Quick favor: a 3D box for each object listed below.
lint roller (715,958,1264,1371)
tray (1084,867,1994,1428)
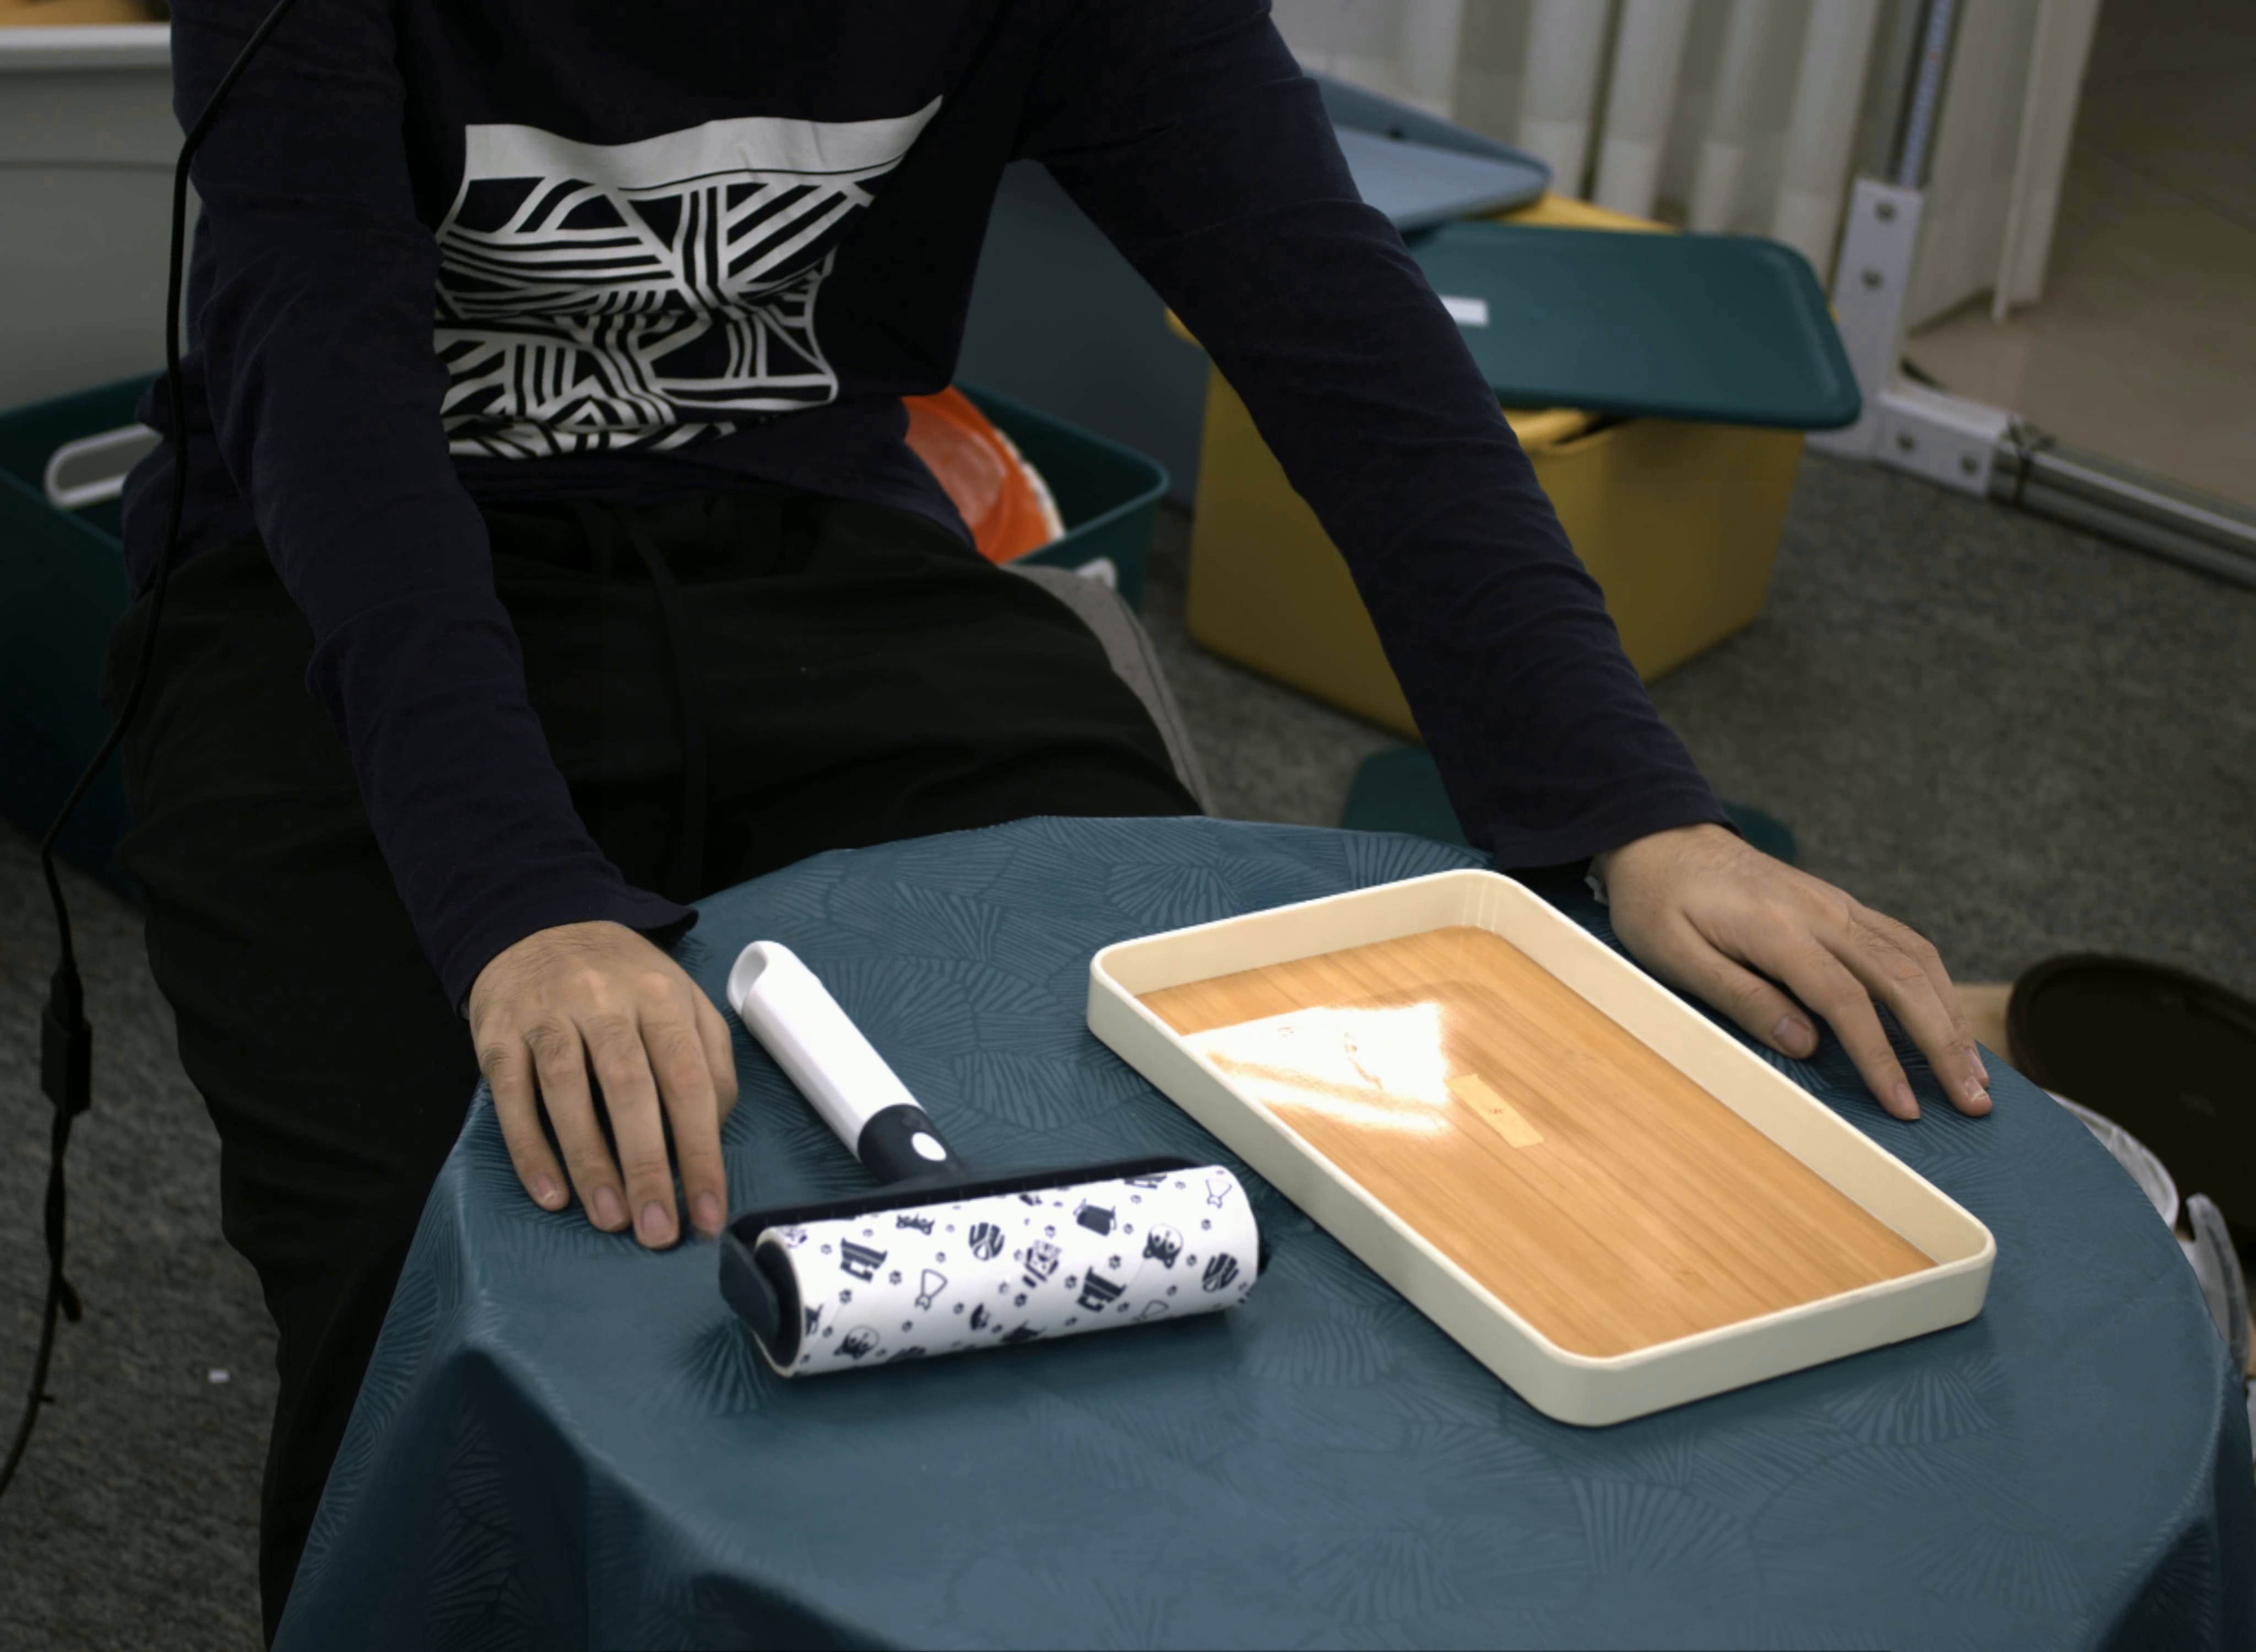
[{"bbox_3d":[-0.084,0.099,1.789,0.175,0.050,0.249,-8,28,-25],"label":"lint roller"},{"bbox_3d":[0.137,0.104,1.844,0.190,0.027,0.303,-11,32,-31],"label":"tray"}]
